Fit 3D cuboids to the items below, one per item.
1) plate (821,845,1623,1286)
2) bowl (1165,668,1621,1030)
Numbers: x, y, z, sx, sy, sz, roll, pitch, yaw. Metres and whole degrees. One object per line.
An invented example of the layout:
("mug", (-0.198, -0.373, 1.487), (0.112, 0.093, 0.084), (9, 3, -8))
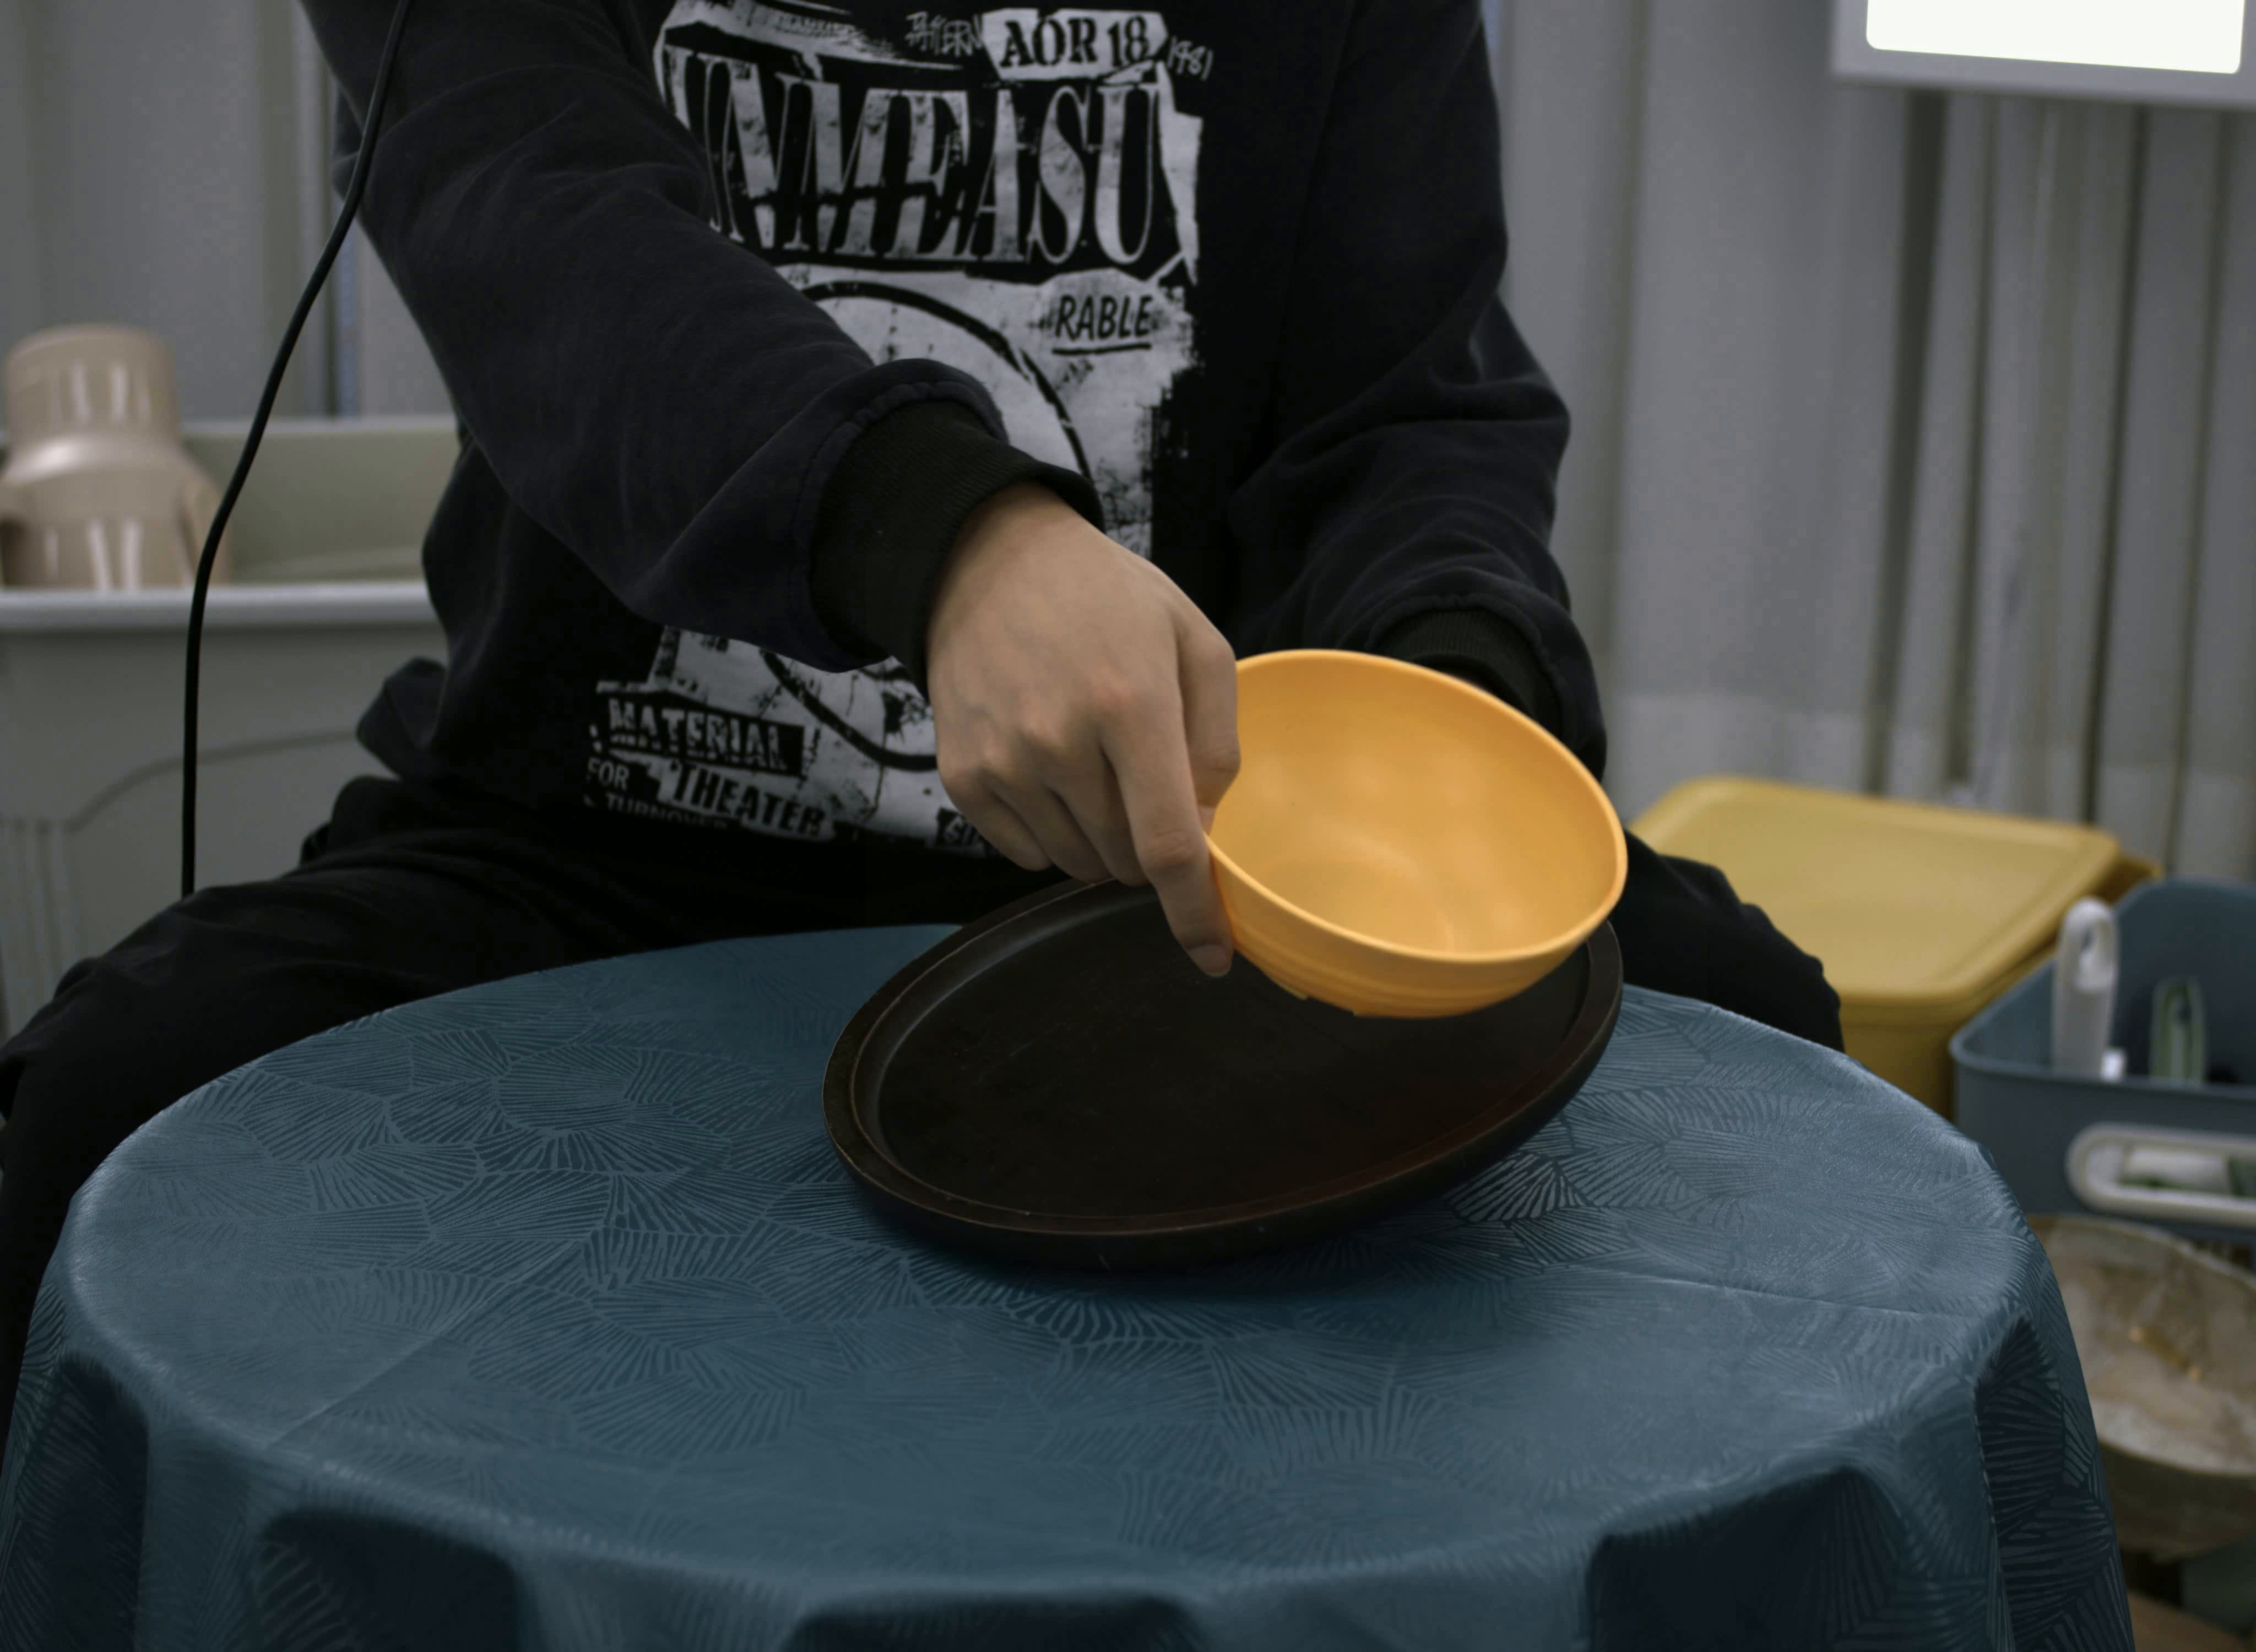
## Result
("plate", (0.030, 0.069, 1.637), (0.253, 0.029, 0.253), (-11, 26, 6))
("bowl", (0.072, 0.018, 1.584), (0.145, 0.060, 0.144), (14, 35, -10))
